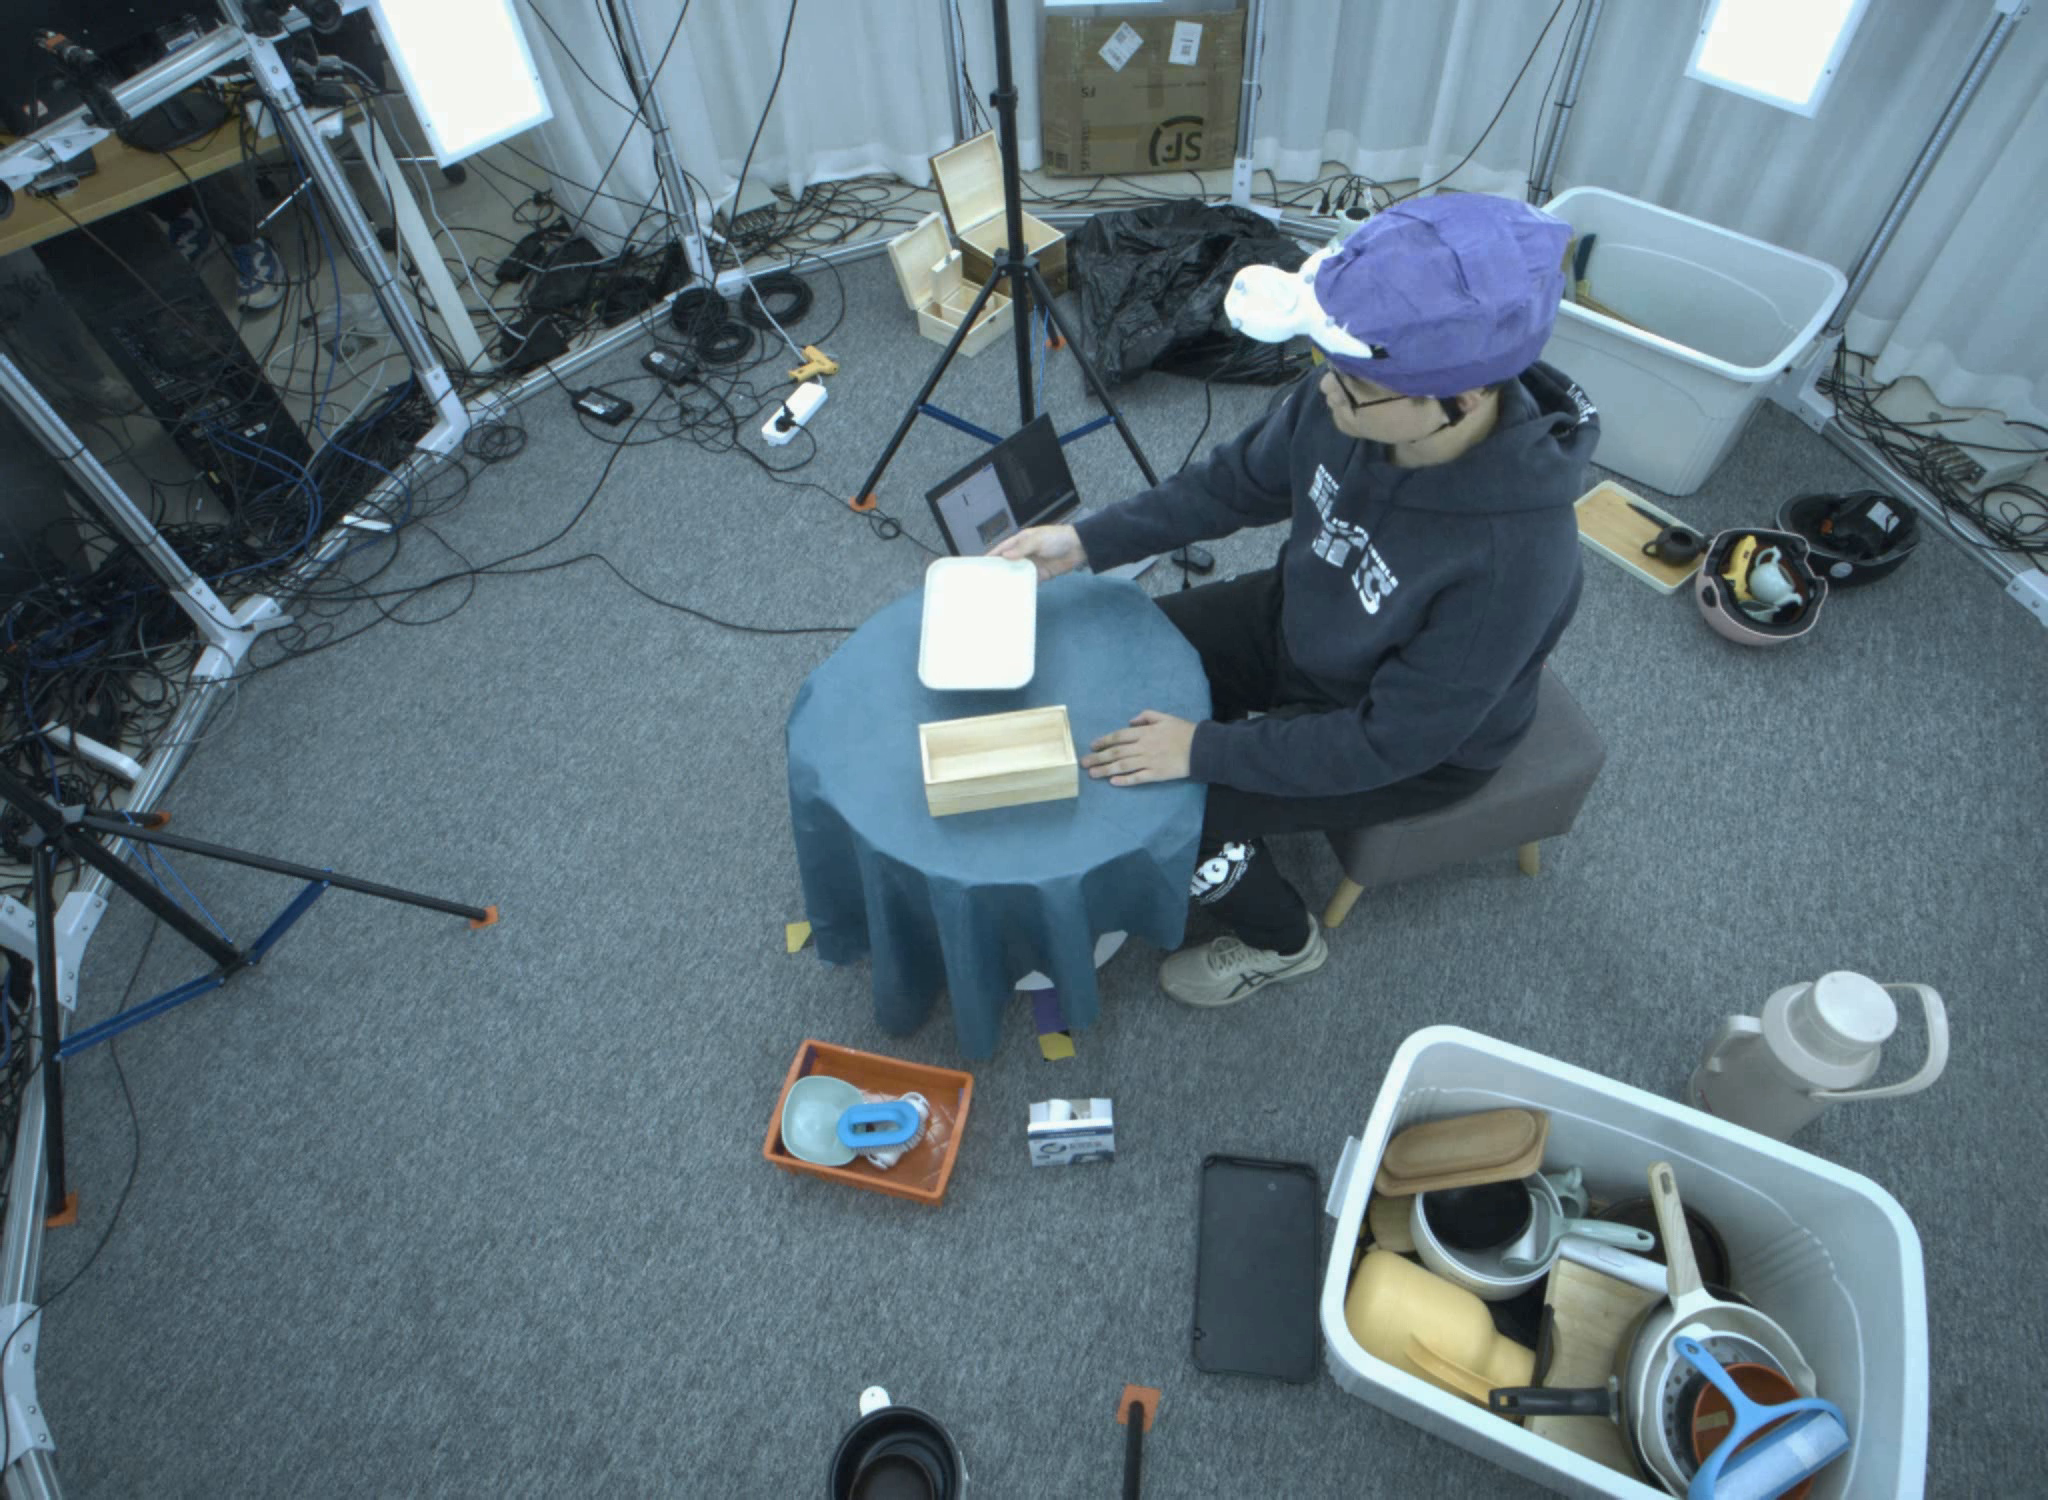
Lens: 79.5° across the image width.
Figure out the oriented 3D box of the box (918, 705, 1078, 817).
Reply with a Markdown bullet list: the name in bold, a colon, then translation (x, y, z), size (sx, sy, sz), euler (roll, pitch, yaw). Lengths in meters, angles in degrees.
- **box**: translation (-0.036, 0.015, 1.729), size (0.212, 0.081, 0.106), euler (-8, 55, -4)

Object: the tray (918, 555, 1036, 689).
- **tray**: translation (-0.068, -0.192, 1.830), size (0.171, 0.017, 0.237), euler (1, 62, 1)
